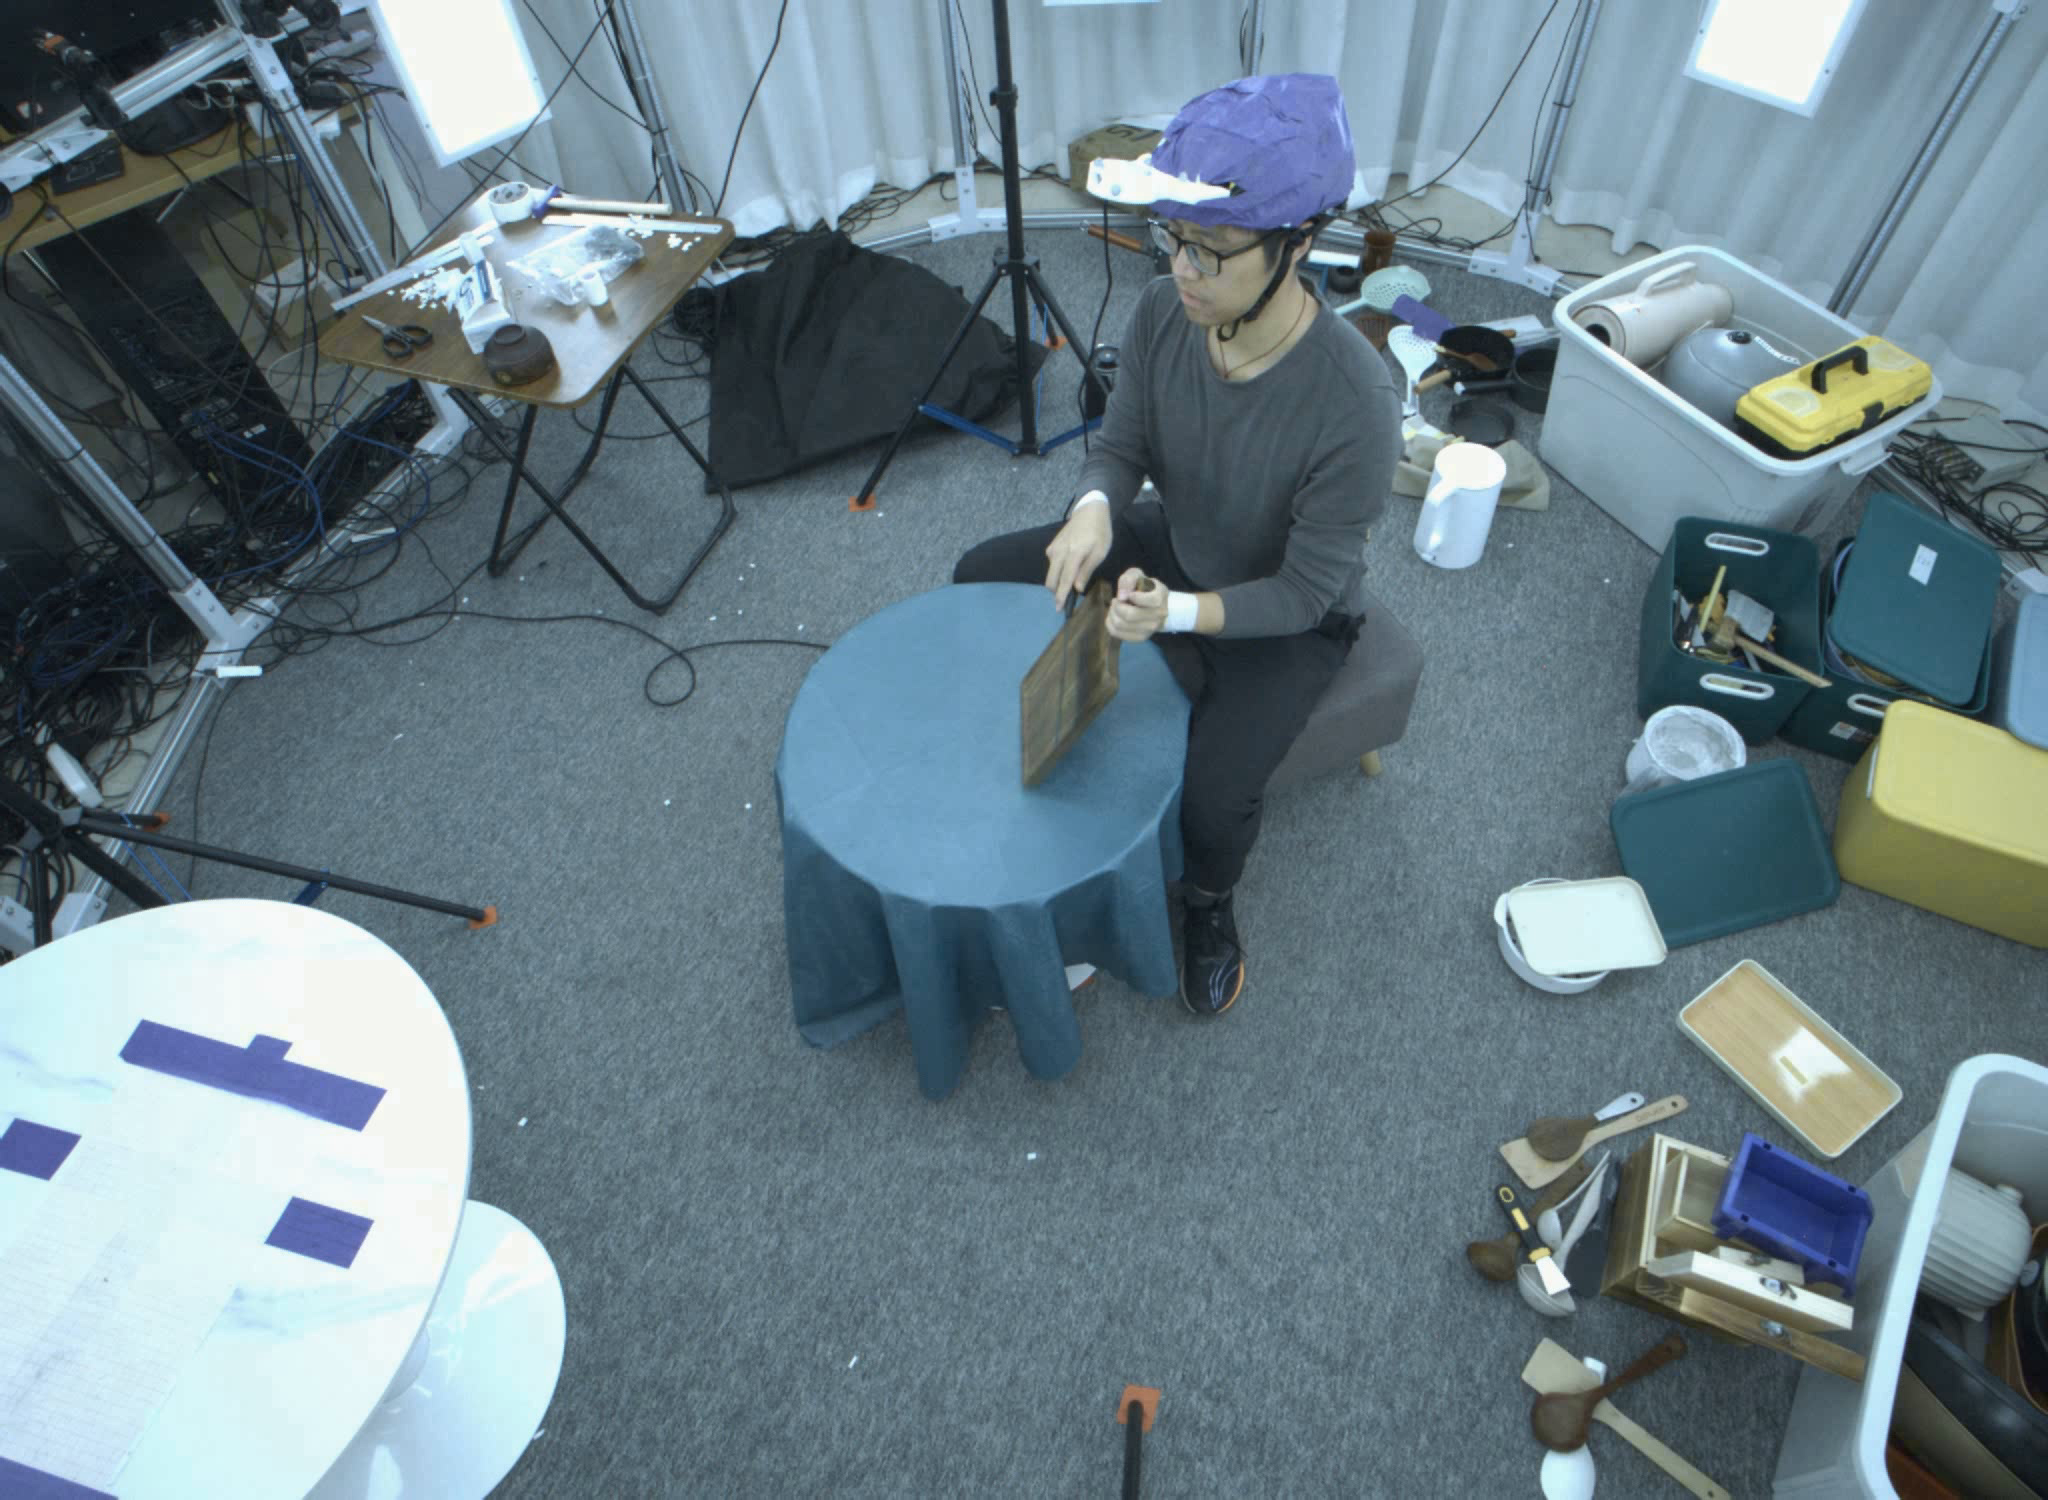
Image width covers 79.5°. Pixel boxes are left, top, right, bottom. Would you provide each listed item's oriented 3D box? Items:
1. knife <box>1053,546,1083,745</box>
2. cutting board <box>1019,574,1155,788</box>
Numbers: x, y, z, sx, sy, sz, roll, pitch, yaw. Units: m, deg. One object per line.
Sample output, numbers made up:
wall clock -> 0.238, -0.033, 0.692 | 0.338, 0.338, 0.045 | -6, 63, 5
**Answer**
knife -> 0.056, -0.149, 1.654 | 0.021, 0.081, 0.300 | 7, 65, -1
cutting board -> 0.080, -0.118, 1.683 | 0.023, 0.350, 0.199 | 15, 50, -23
